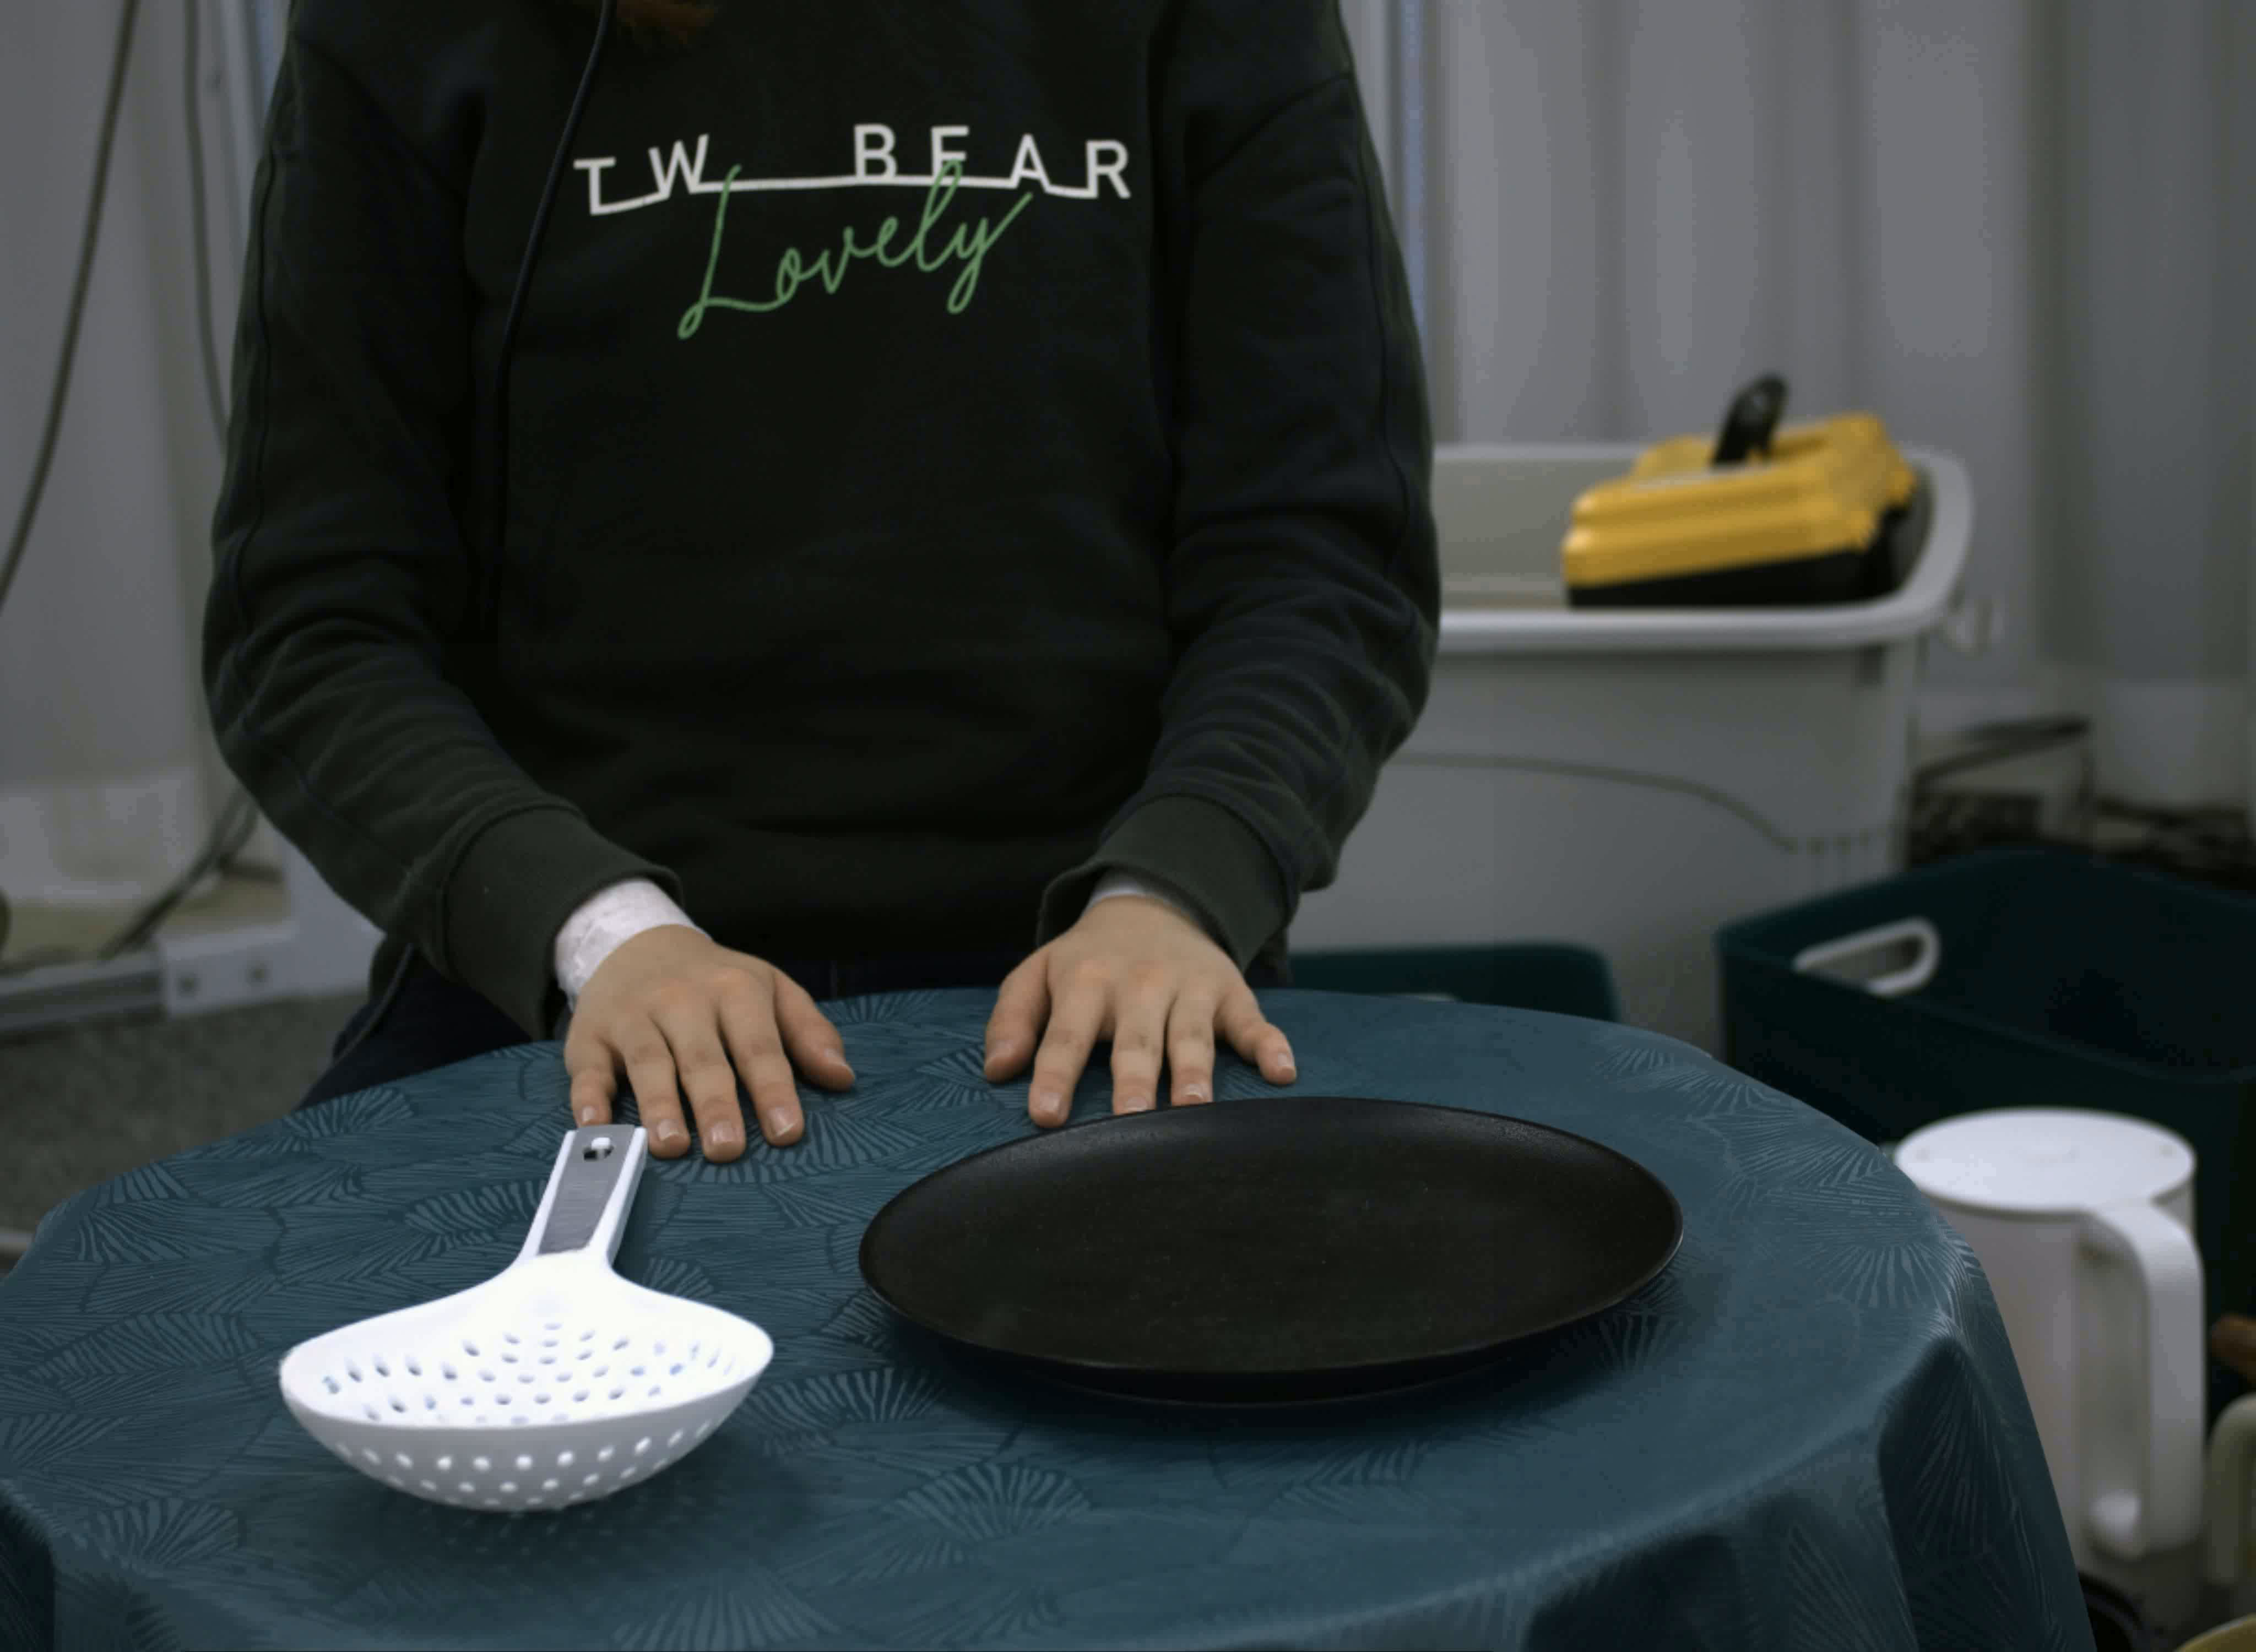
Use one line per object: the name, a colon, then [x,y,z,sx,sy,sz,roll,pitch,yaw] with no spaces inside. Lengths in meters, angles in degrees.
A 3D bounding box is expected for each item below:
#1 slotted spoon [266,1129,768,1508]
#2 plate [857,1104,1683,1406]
slotted spoon: [-0.166,0.133,1.588,0.135,0.045,0.352,-1,14,0]
plate: [0.042,0.129,1.610,0.243,0.023,0.246,-3,15,0]
